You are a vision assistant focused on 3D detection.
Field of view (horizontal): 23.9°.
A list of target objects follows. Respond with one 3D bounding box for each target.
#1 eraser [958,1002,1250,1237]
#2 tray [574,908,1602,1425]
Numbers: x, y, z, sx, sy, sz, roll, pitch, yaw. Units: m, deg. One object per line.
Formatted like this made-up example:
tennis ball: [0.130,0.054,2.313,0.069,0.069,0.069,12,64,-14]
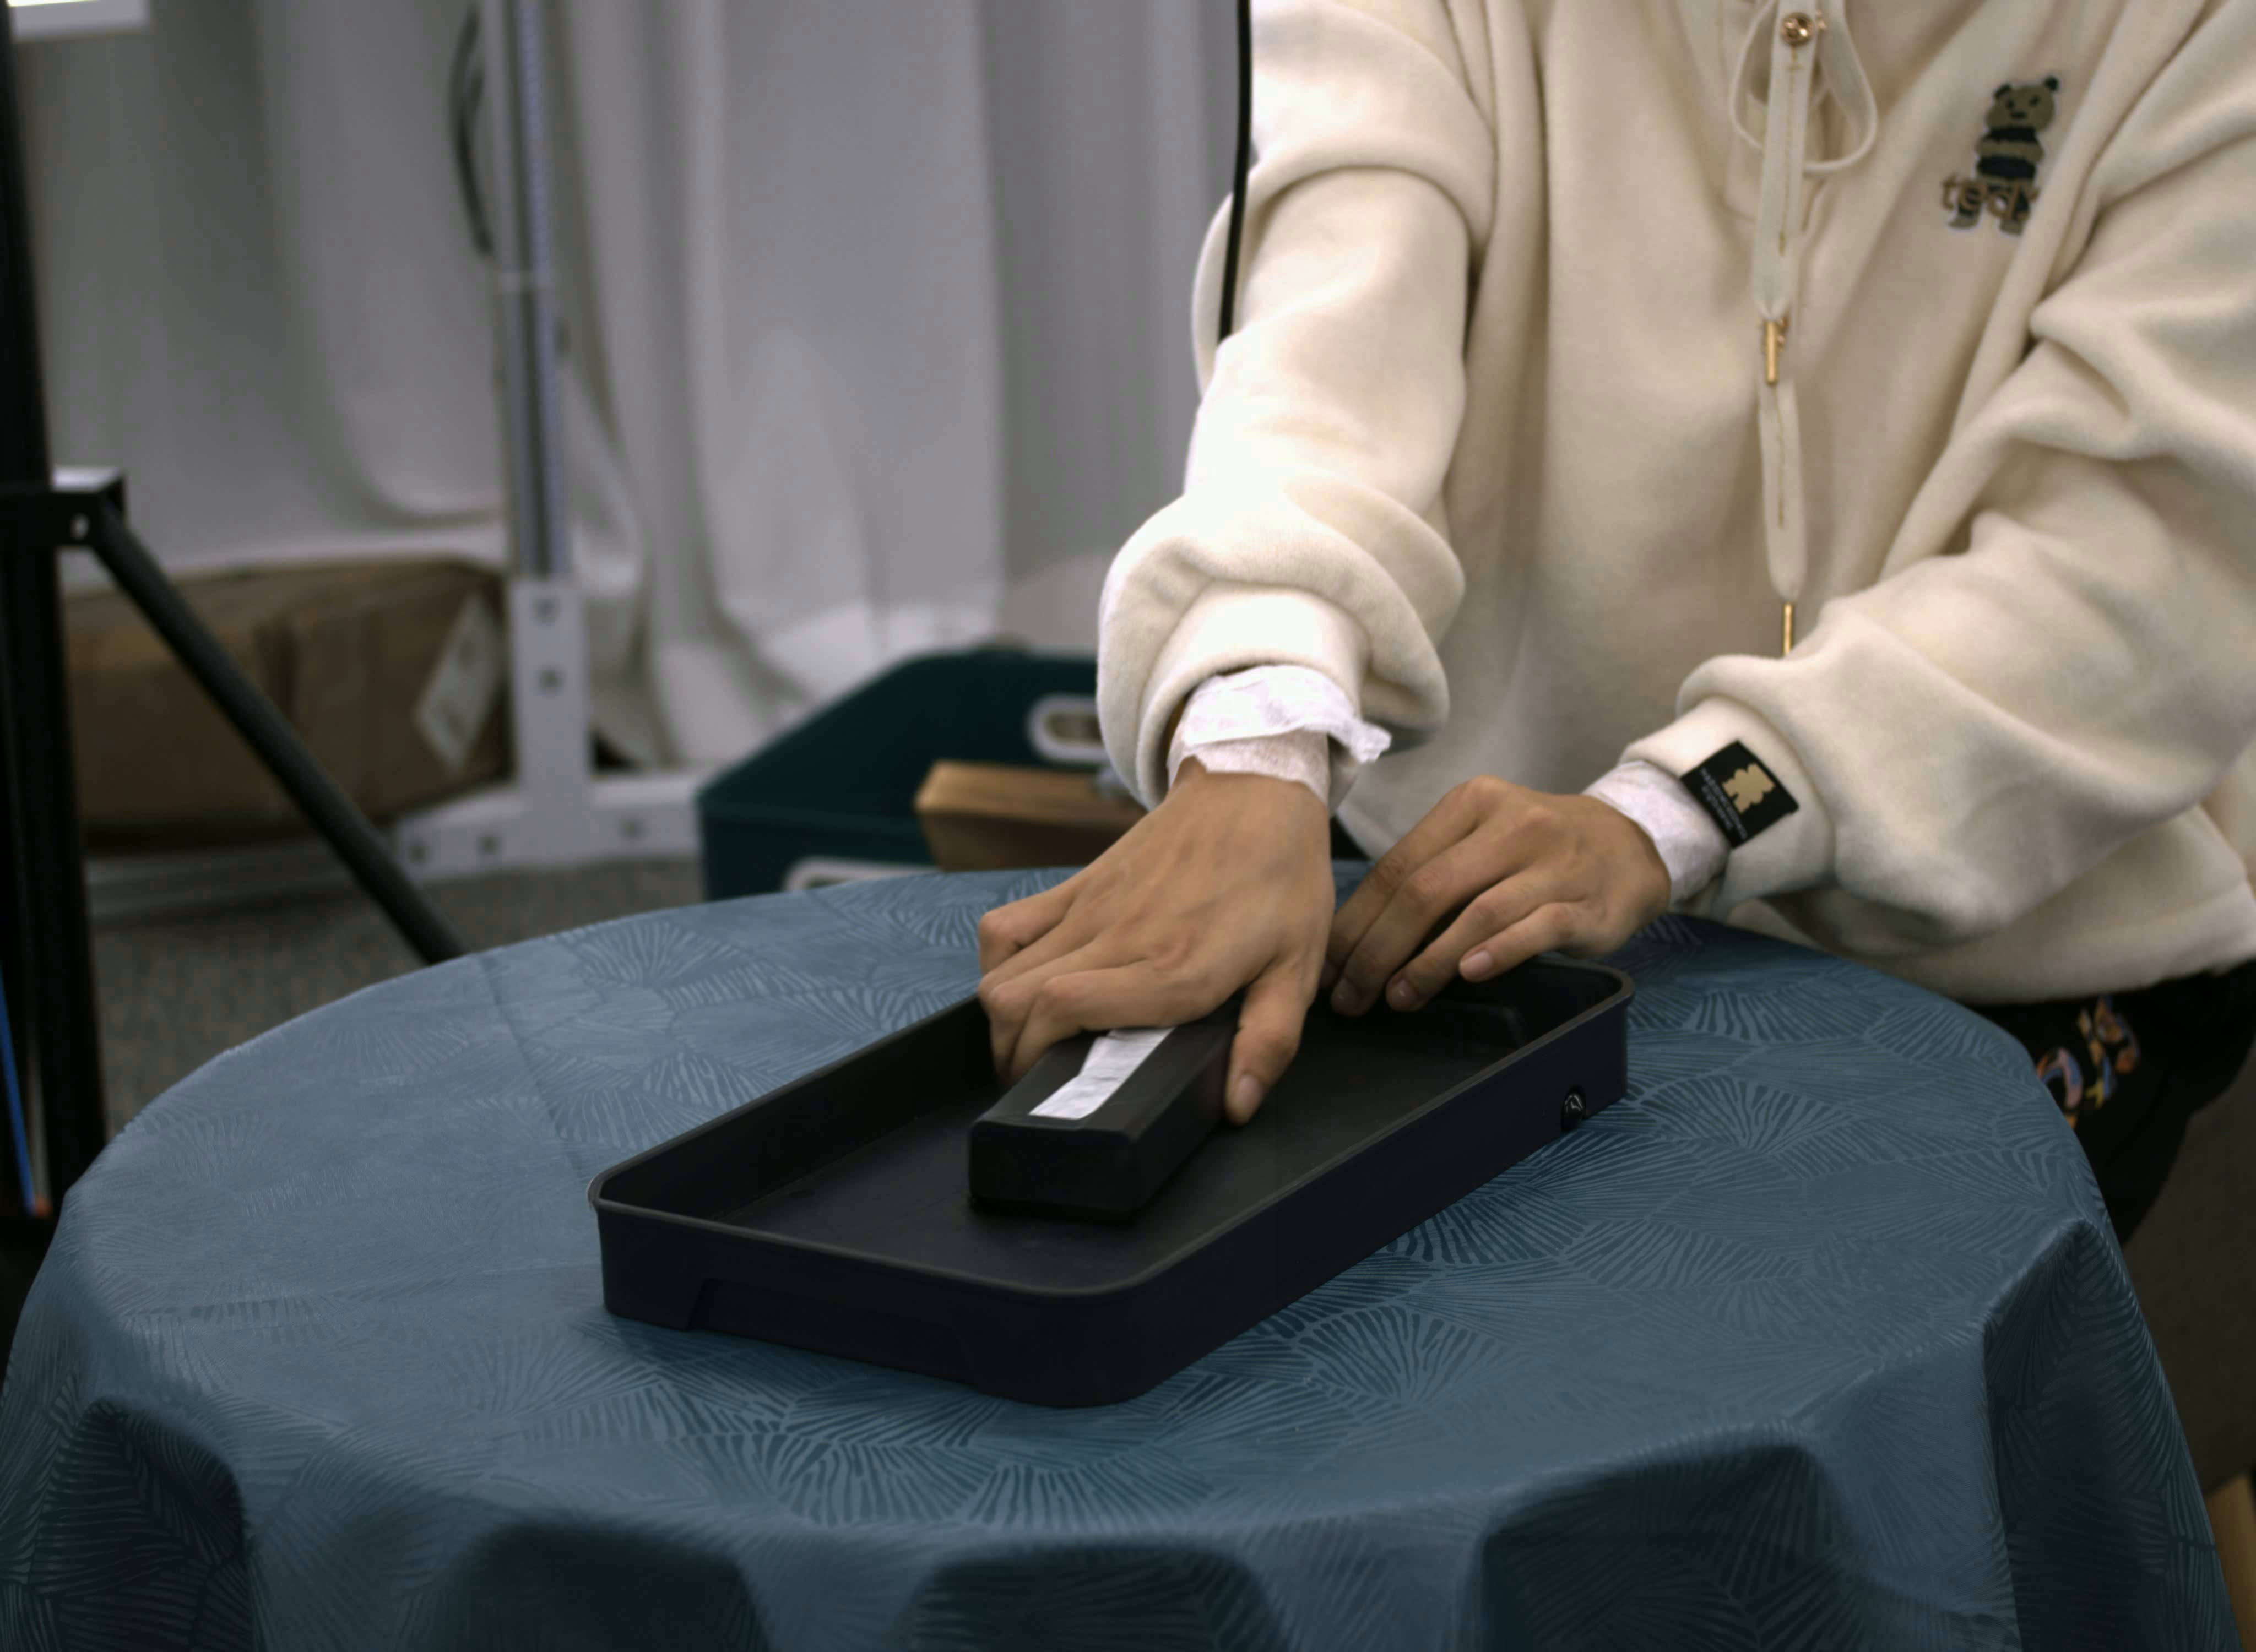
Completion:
eraser: [-0.006,0.086,1.572,0.054,0.030,0.124,7,17,17]
tray: [-0.003,0.092,1.547,0.187,0.037,0.312,7,19,30]
